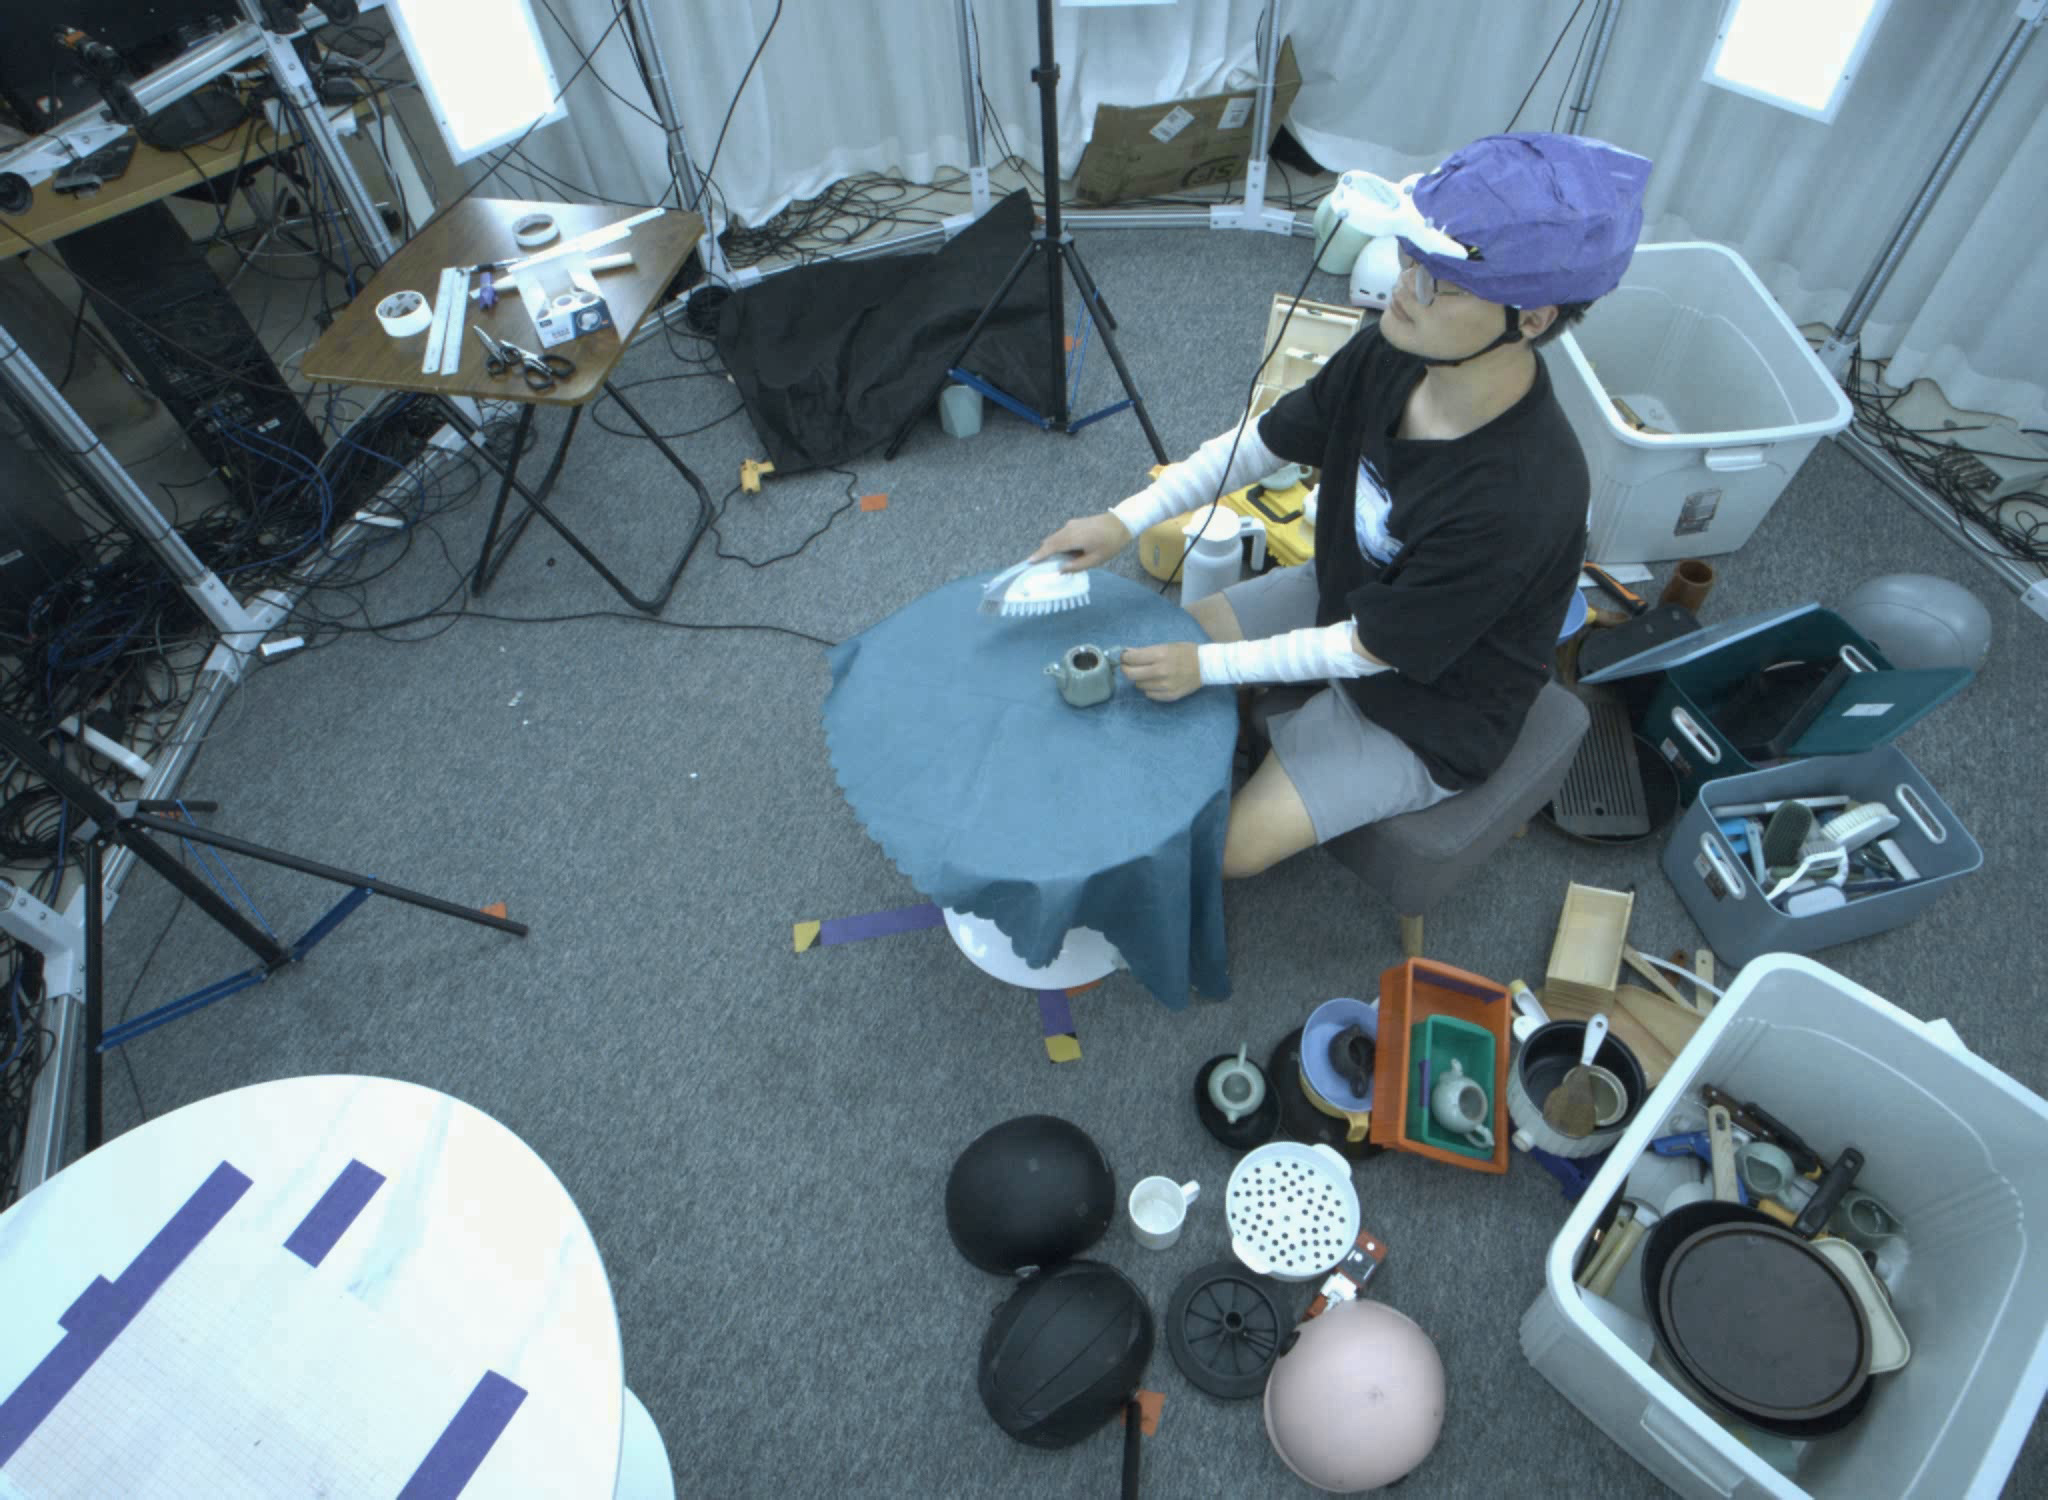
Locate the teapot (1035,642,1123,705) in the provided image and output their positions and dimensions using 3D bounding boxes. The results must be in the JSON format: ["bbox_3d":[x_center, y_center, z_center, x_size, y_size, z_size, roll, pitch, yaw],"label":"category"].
[{"bbox_3d":[0.081,-0.116,1.814,0.133,0.076,0.078,-14,57,-9],"label":"teapot"}]

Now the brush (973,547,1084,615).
[{"bbox_3d":[0.005,-0.257,1.860,0.177,0.095,0.060,-13,45,-14],"label":"brush"}]
